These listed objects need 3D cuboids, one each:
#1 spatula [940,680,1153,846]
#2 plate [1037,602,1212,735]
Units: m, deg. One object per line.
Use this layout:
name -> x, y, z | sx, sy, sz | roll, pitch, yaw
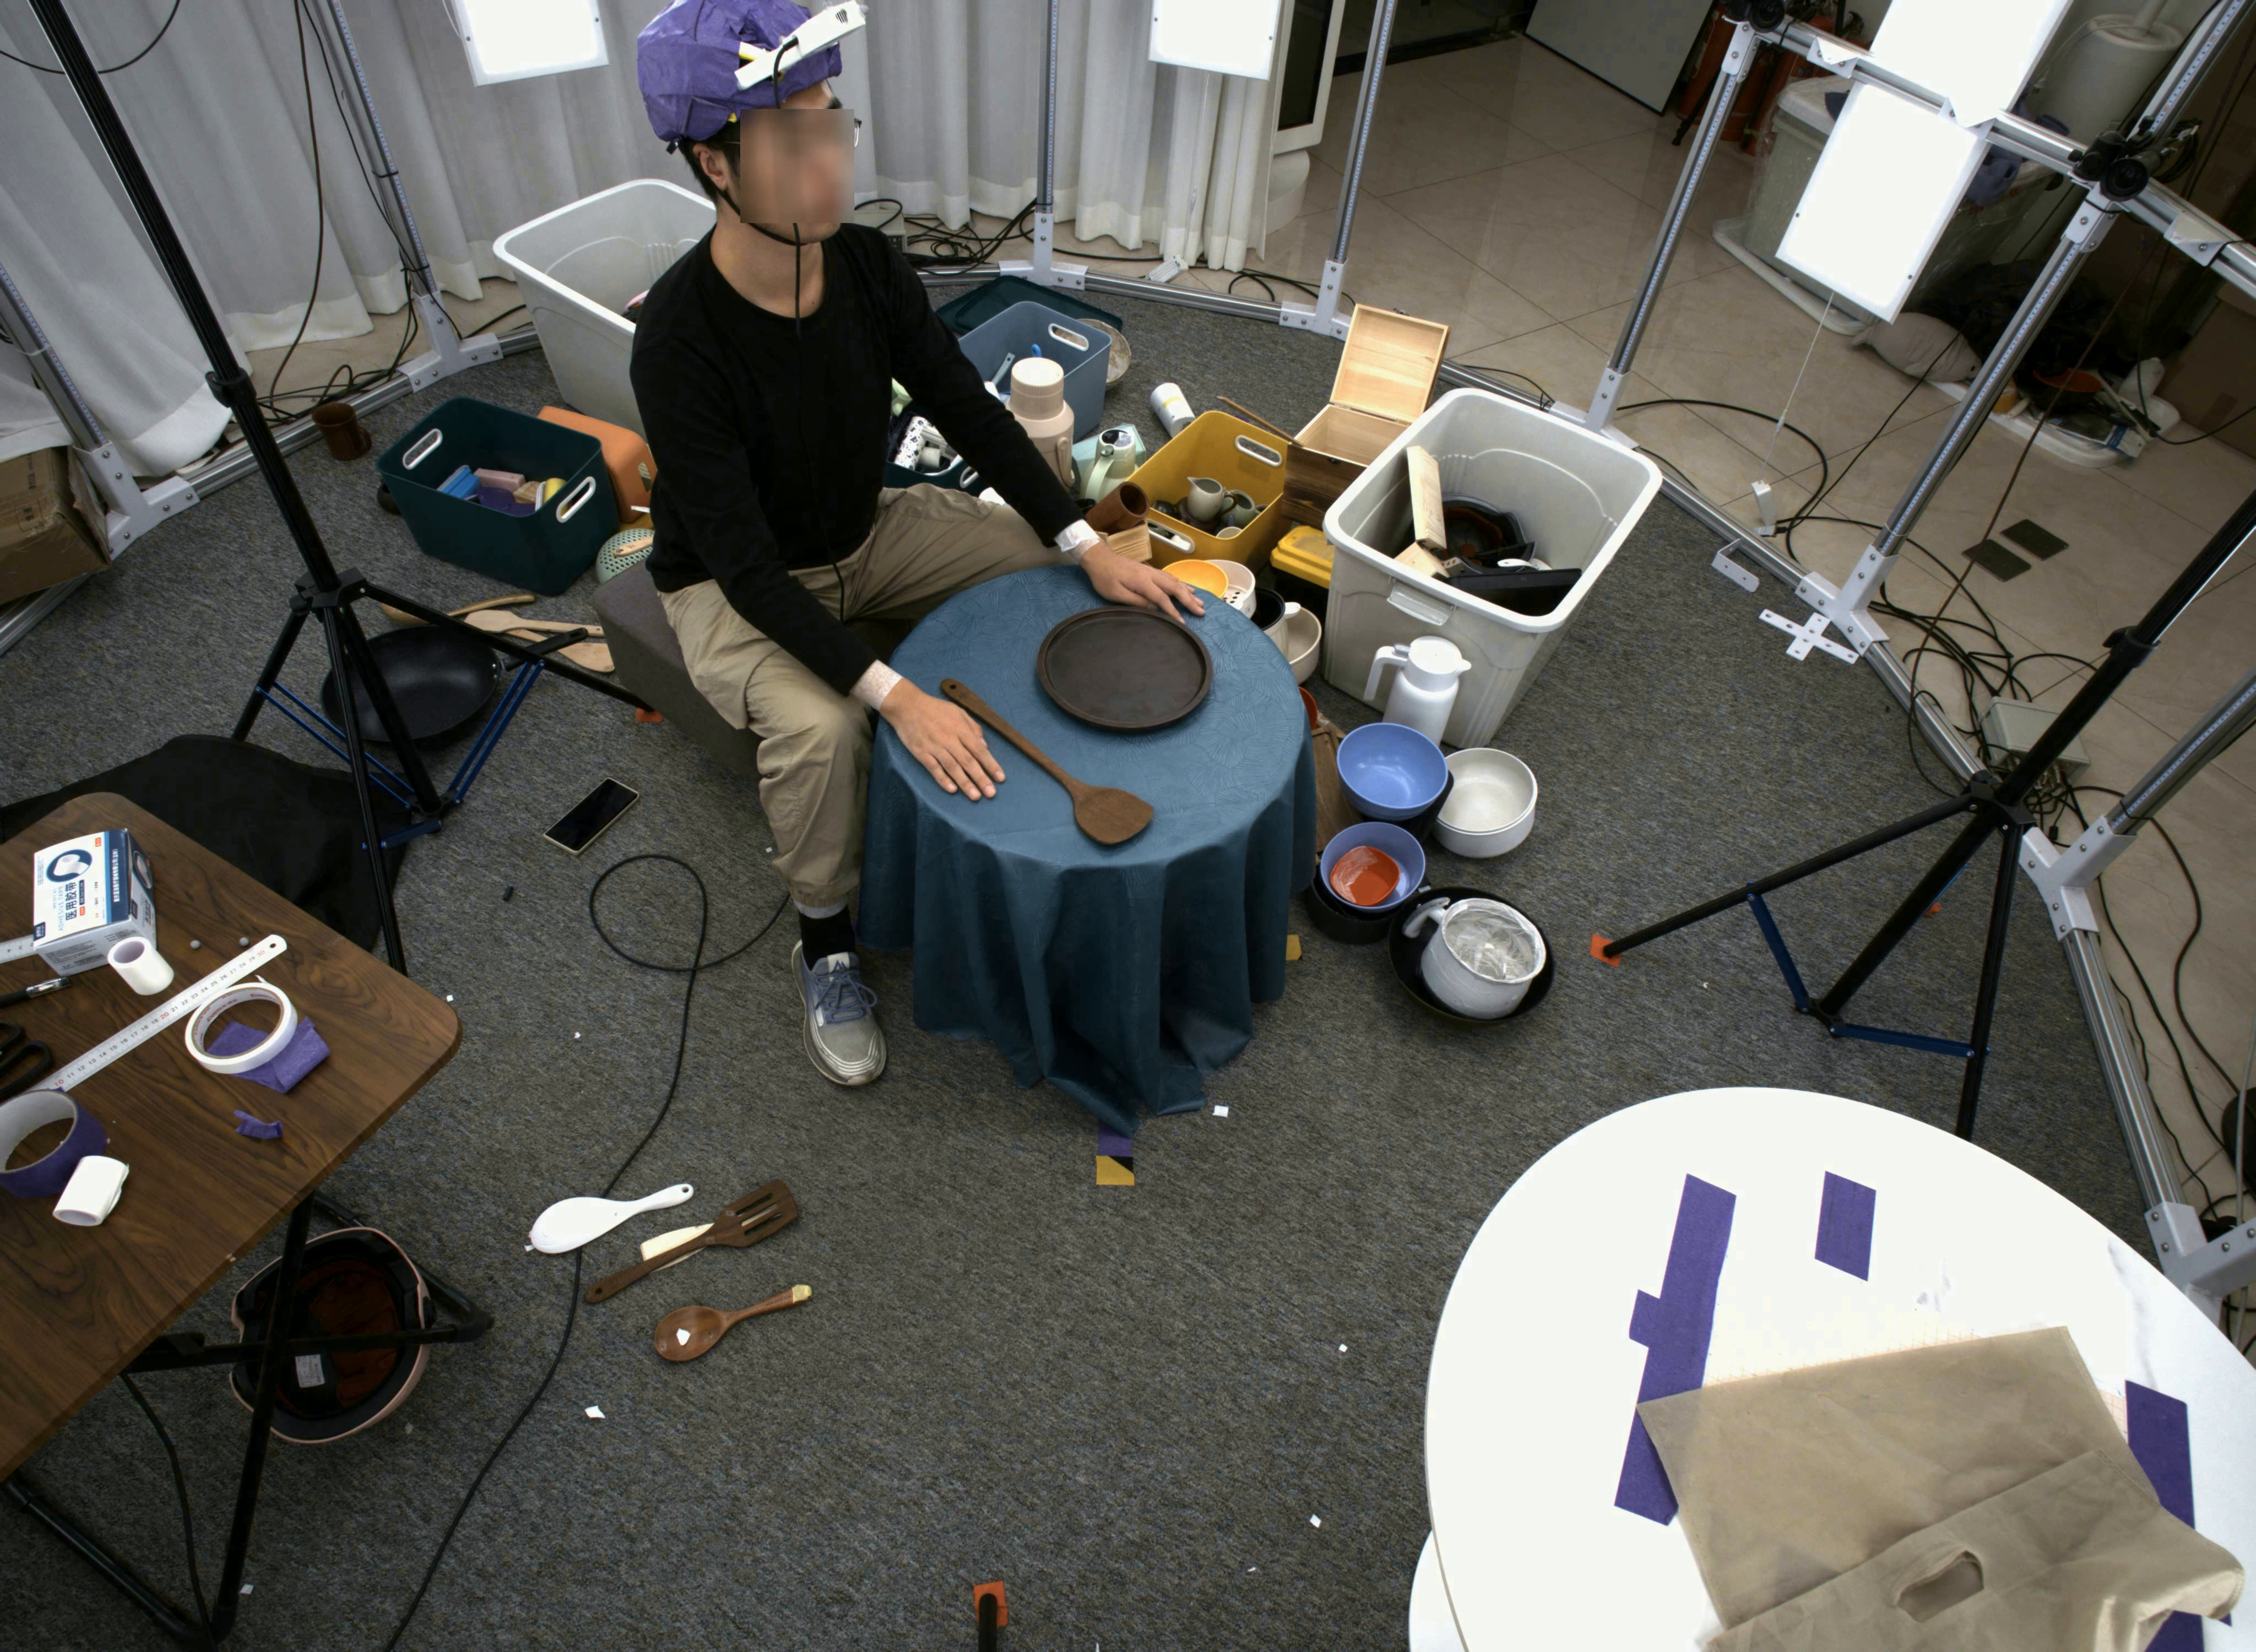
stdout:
spatula -> -0.126, -0.097, 1.736 | 0.097, 0.015, 0.392 | -35, 59, -30
plate -> -0.005, -0.226, 1.852 | 0.254, 0.028, 0.261 | 2, 51, -2
